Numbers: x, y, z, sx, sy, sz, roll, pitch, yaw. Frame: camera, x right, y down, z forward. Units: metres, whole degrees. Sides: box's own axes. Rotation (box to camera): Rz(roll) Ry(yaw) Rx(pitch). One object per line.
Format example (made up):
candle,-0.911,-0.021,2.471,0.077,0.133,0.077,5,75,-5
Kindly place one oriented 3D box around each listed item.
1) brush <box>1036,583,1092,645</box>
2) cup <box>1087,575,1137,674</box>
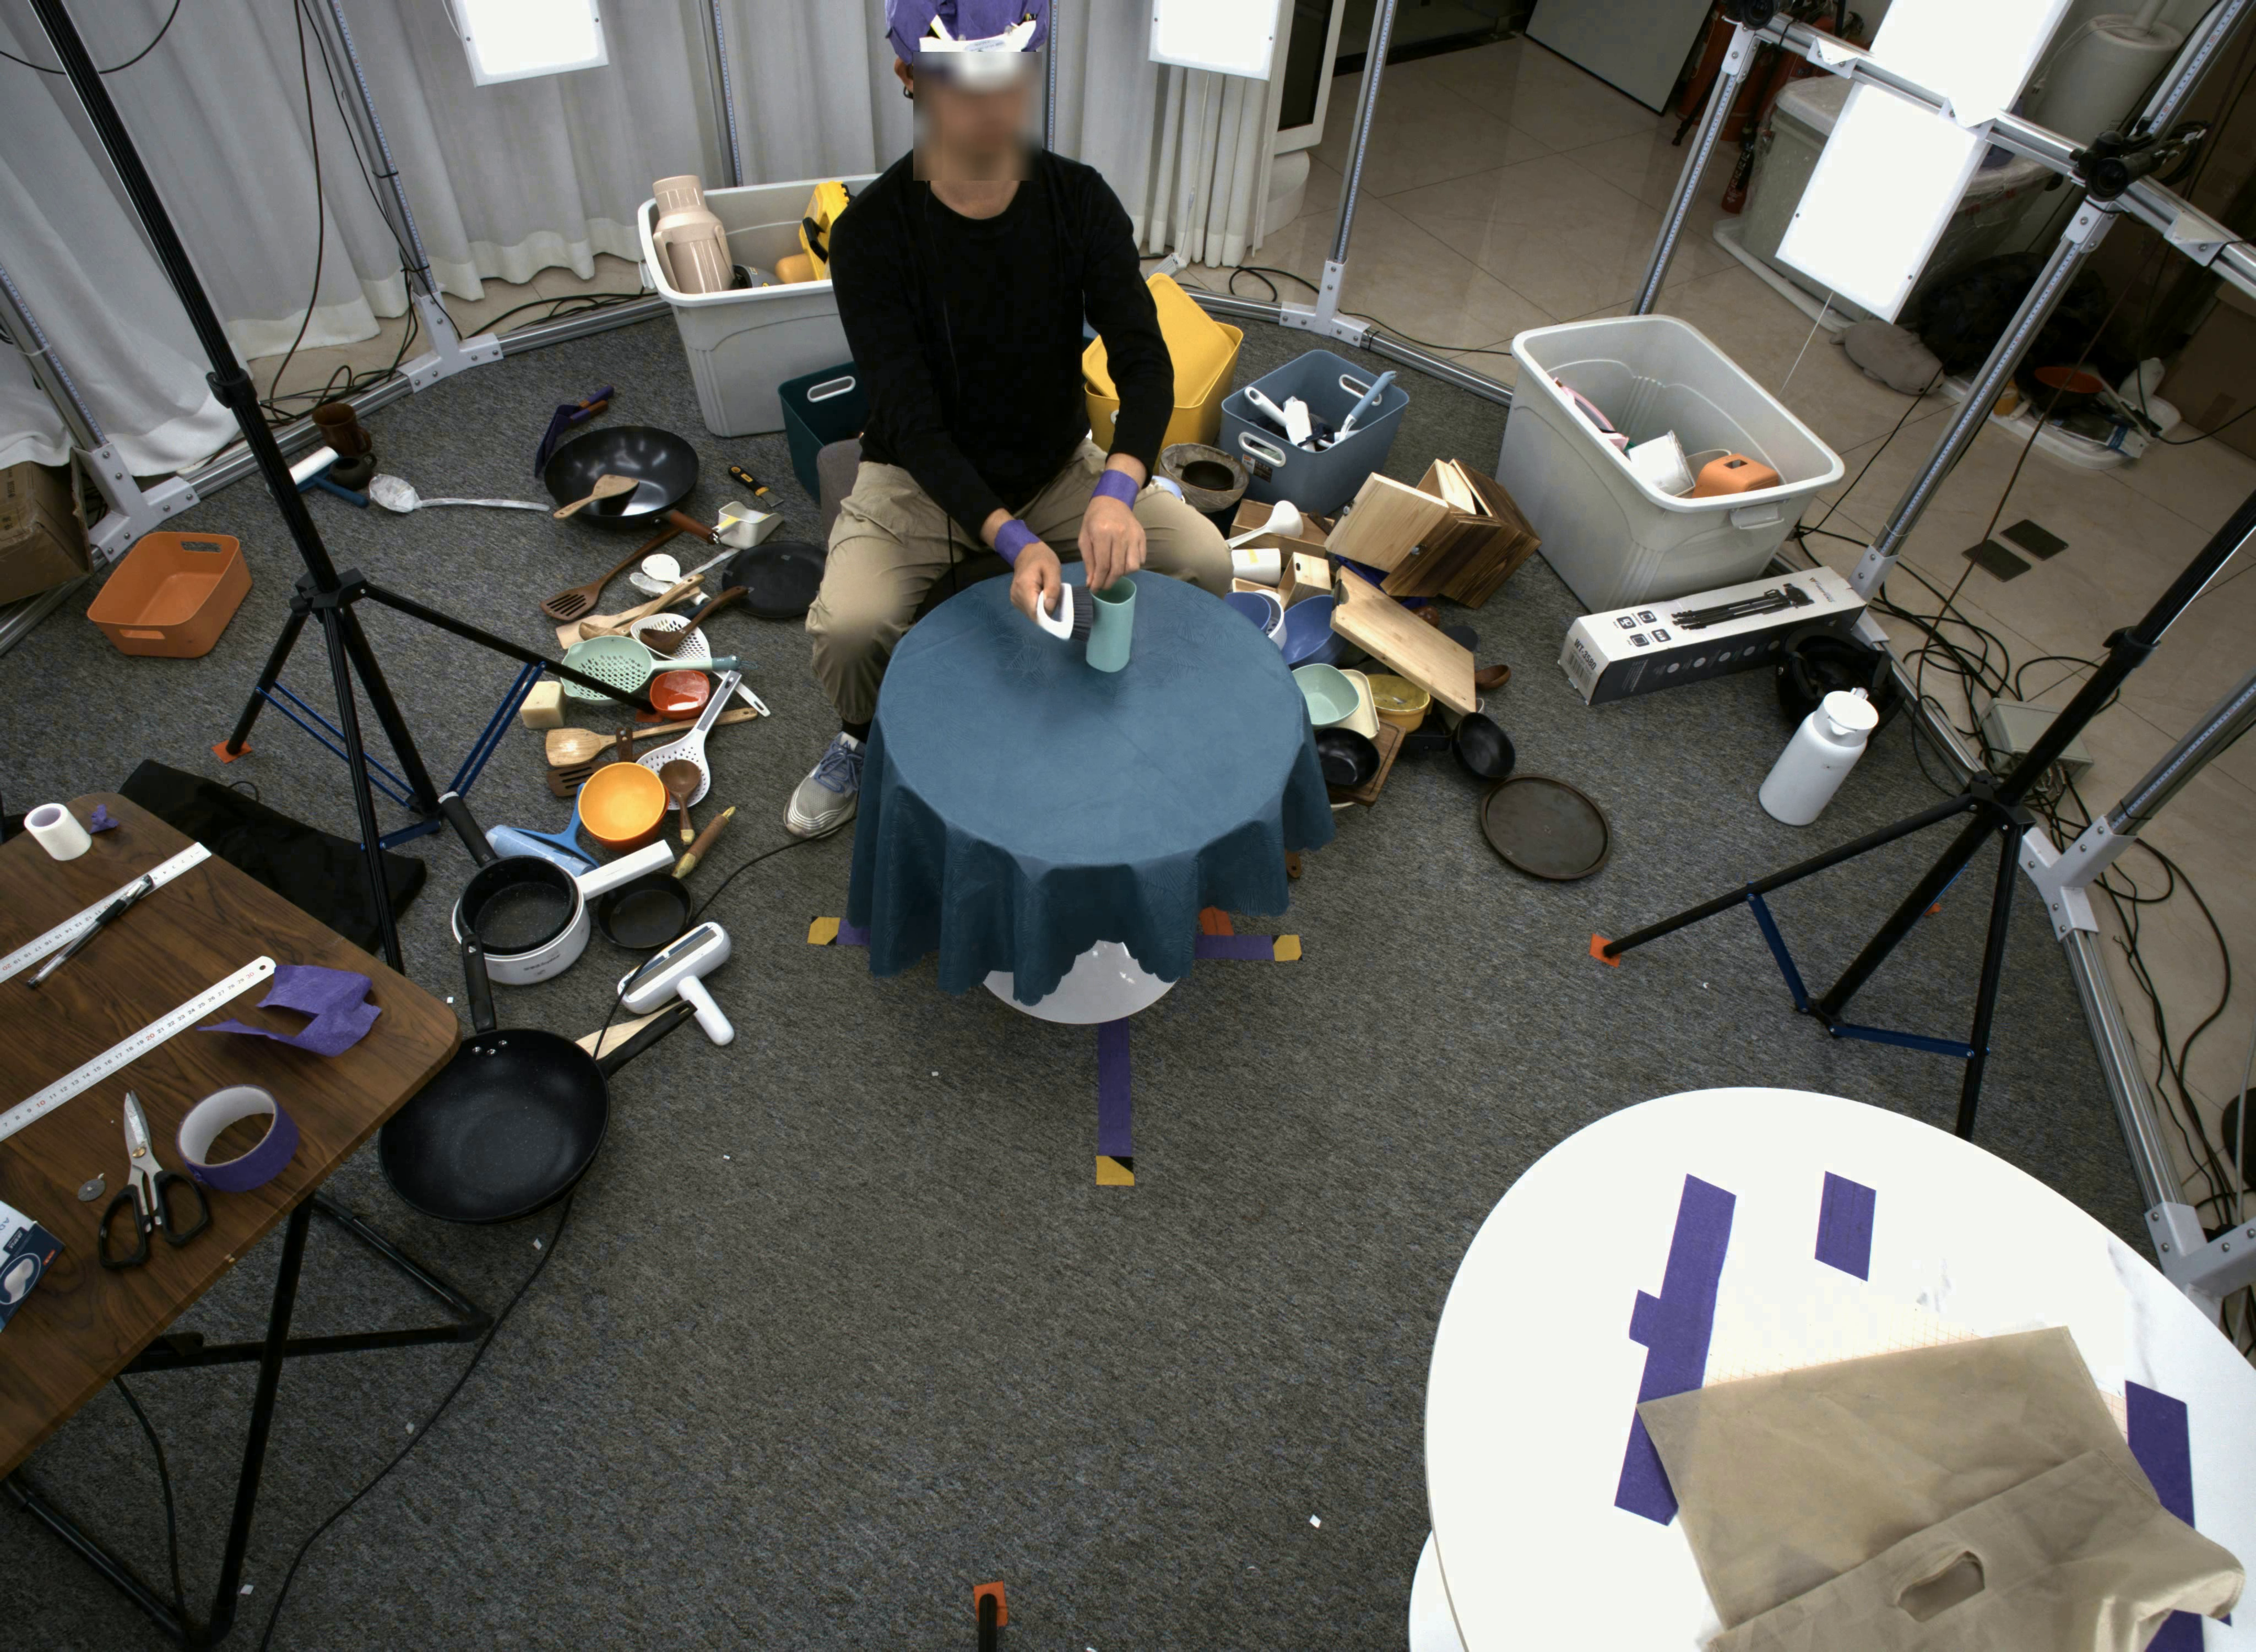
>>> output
brush,-0.090,-0.295,1.768,0.072,0.049,0.102,5,48,-12
cup,-0.026,-0.286,1.834,0.066,0.129,0.068,2,50,-3
